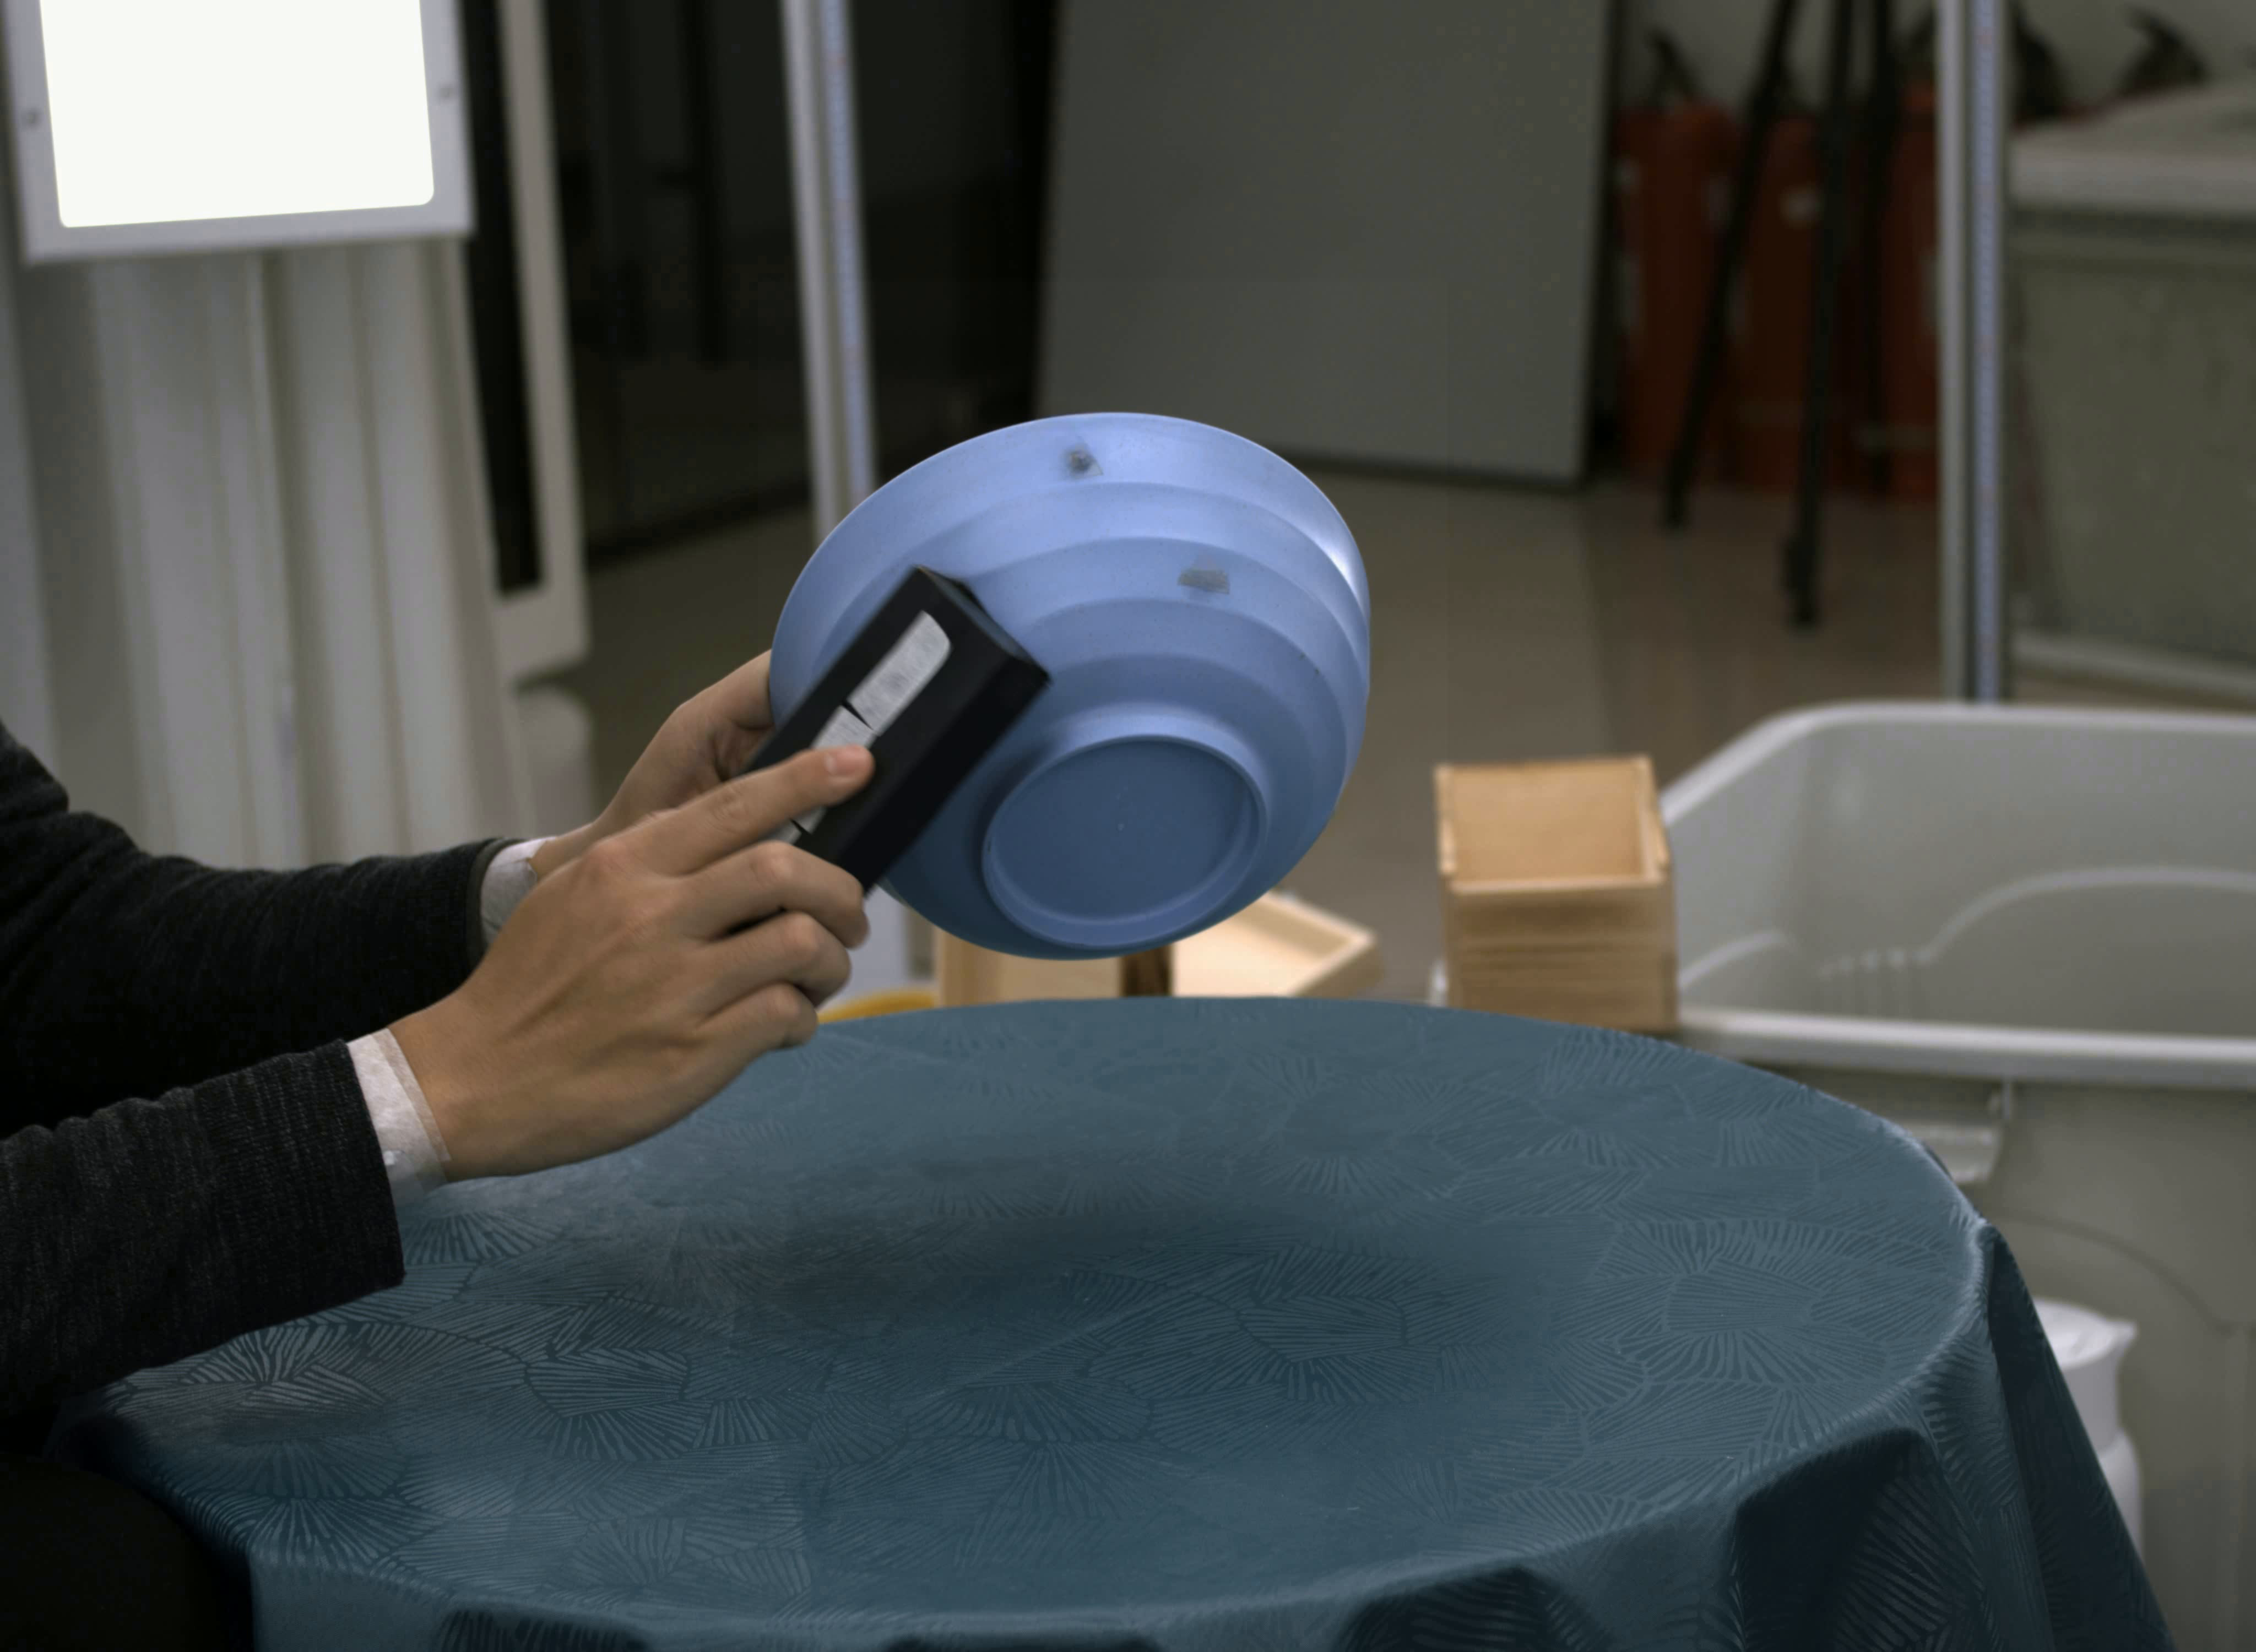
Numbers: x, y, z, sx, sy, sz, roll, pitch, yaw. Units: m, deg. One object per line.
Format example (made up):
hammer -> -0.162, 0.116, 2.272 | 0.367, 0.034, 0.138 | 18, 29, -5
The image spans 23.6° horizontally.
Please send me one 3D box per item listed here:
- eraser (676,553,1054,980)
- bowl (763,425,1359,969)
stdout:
eraser -> -0.079, -0.018, 1.617 | 0.054, 0.126, 0.030 | 43, 6, 38
bowl -> -0.011, -0.021, 1.699 | 0.193, 0.197, 0.096 | -6, 48, -12
